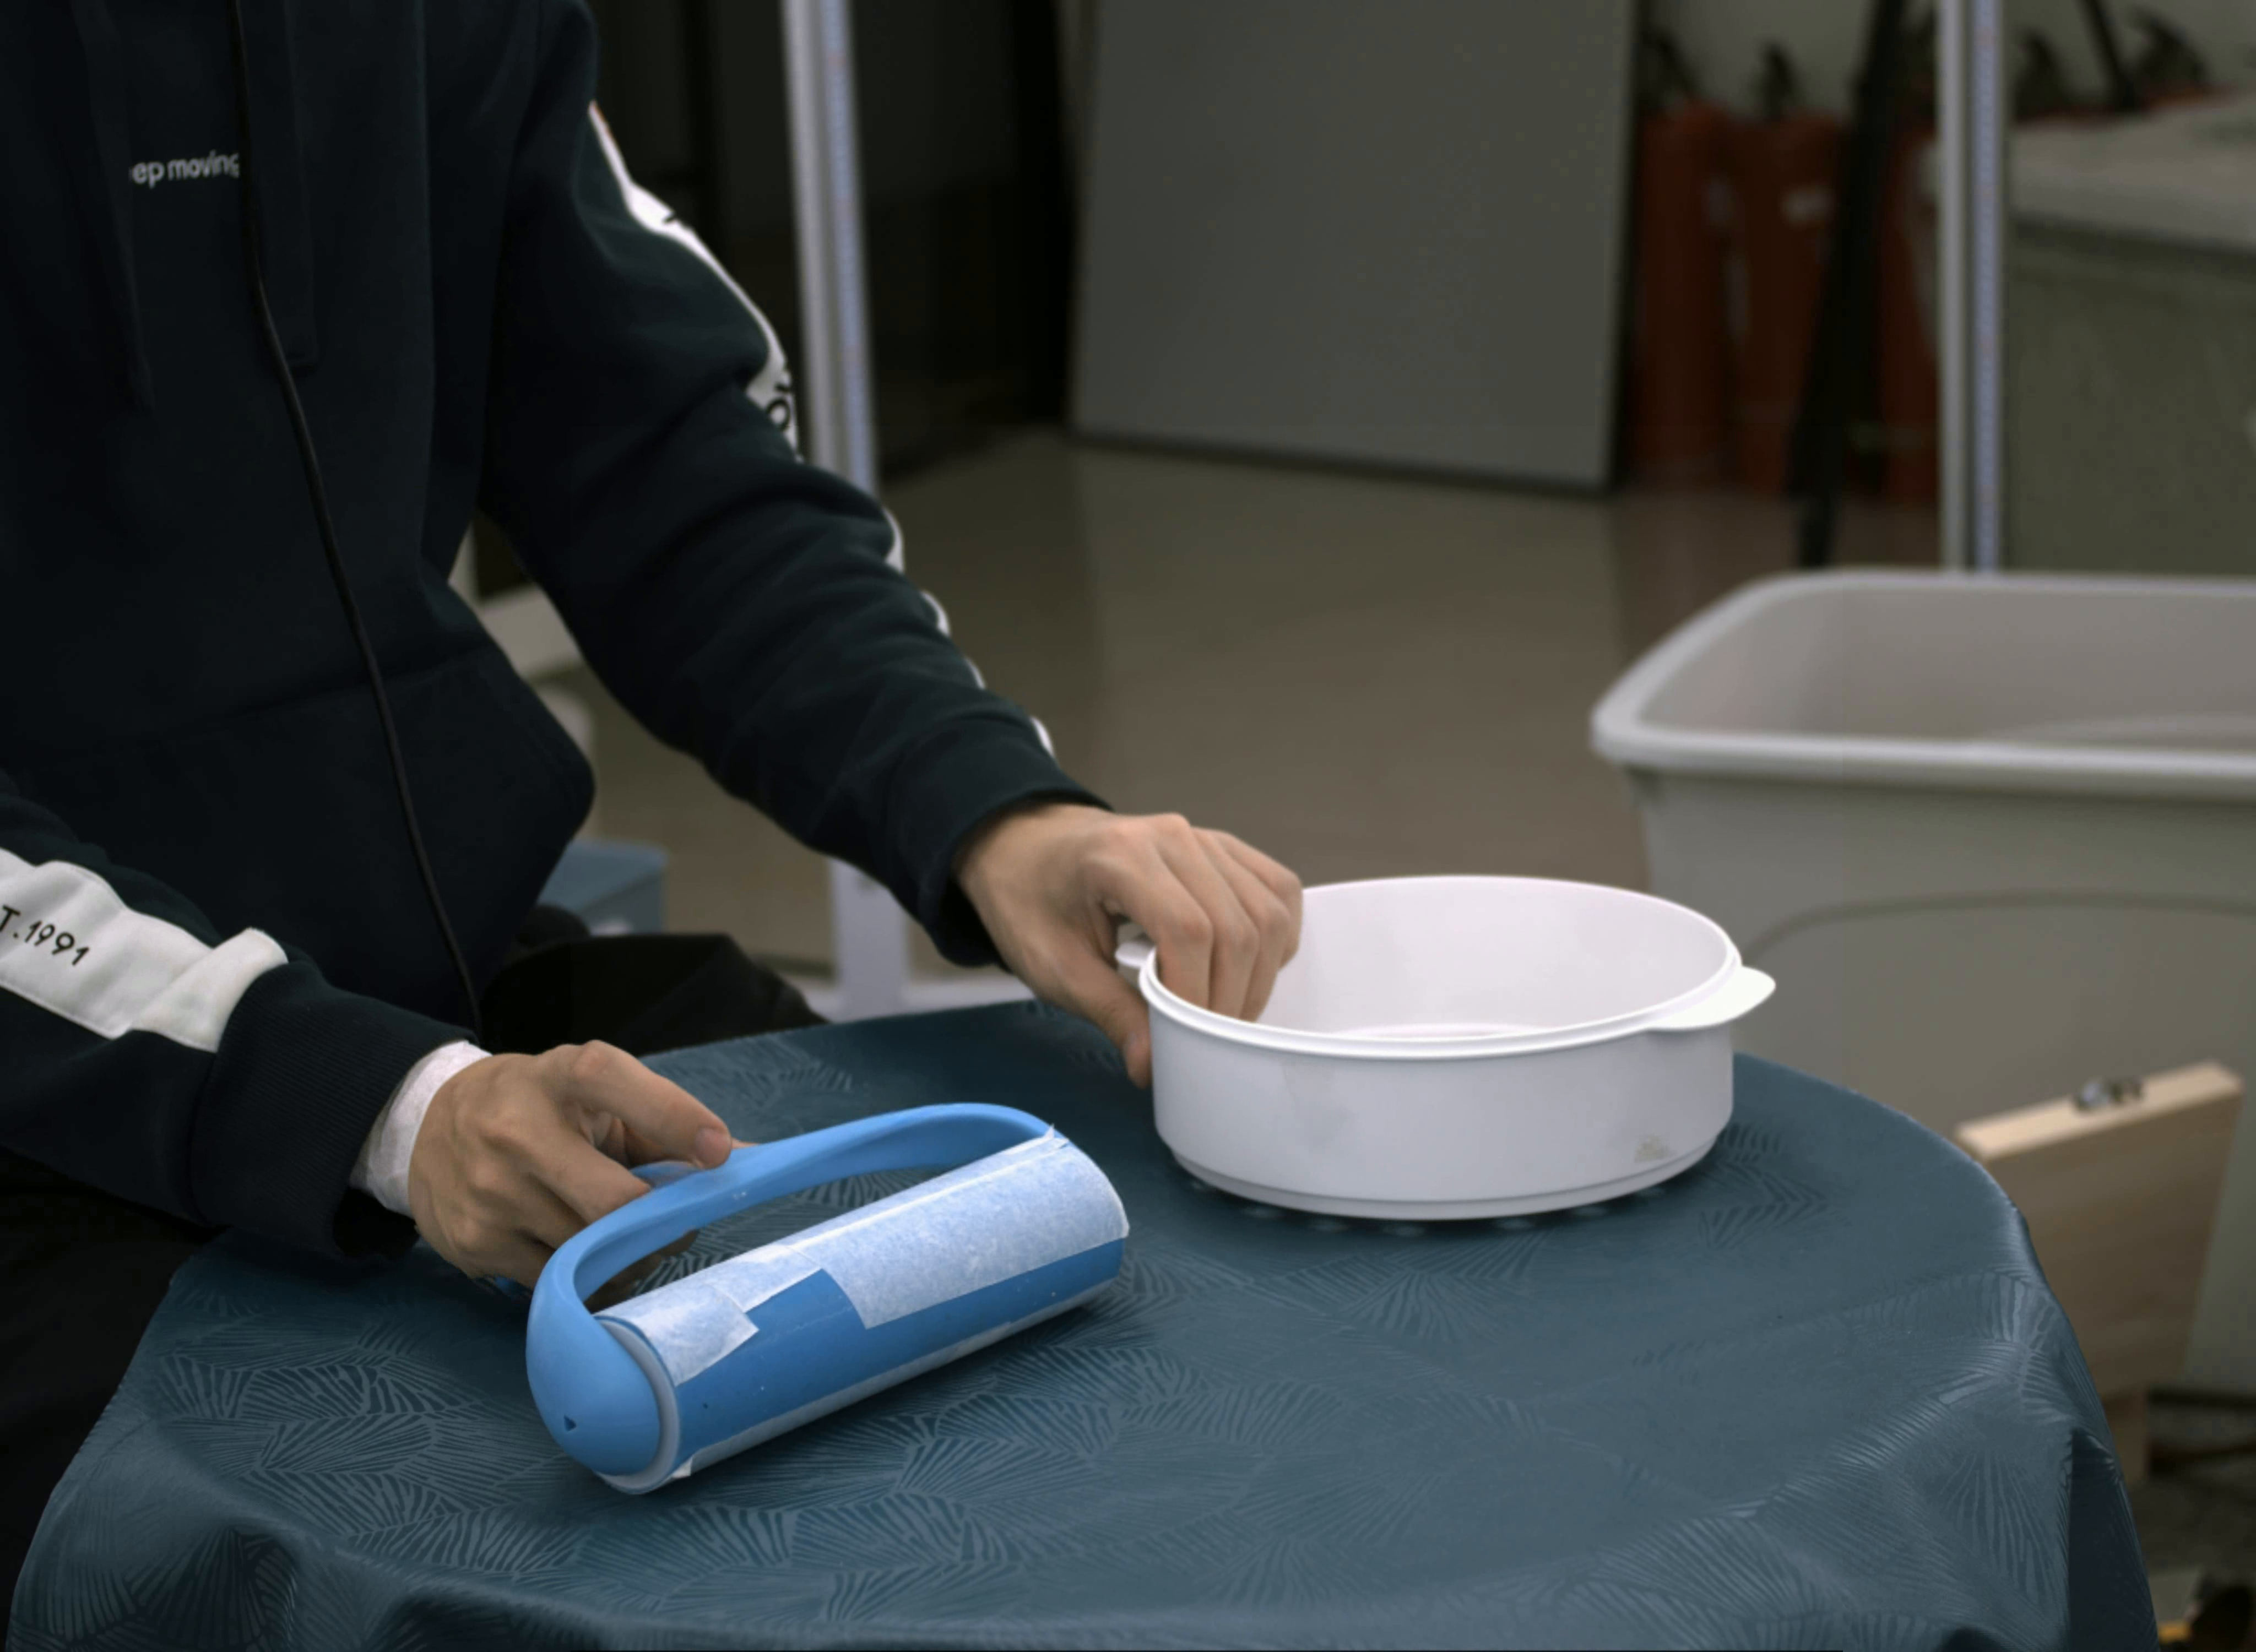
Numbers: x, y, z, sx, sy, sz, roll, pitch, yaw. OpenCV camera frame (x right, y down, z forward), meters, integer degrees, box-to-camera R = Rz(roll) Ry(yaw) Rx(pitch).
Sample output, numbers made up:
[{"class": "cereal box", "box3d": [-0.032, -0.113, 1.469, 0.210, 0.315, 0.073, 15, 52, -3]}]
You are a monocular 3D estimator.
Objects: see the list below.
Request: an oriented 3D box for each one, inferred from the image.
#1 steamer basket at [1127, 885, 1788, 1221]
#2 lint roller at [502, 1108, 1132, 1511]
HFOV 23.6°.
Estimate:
[{"class": "steamer basket", "box3d": [0.108, 0.075, 1.783, 0.231, 0.070, 0.199, 4, 15, 31]}, {"class": "lint roller", "box3d": [-0.125, 0.136, 1.629, 0.181, 0.068, 0.225, 9, 21, 37]}]
